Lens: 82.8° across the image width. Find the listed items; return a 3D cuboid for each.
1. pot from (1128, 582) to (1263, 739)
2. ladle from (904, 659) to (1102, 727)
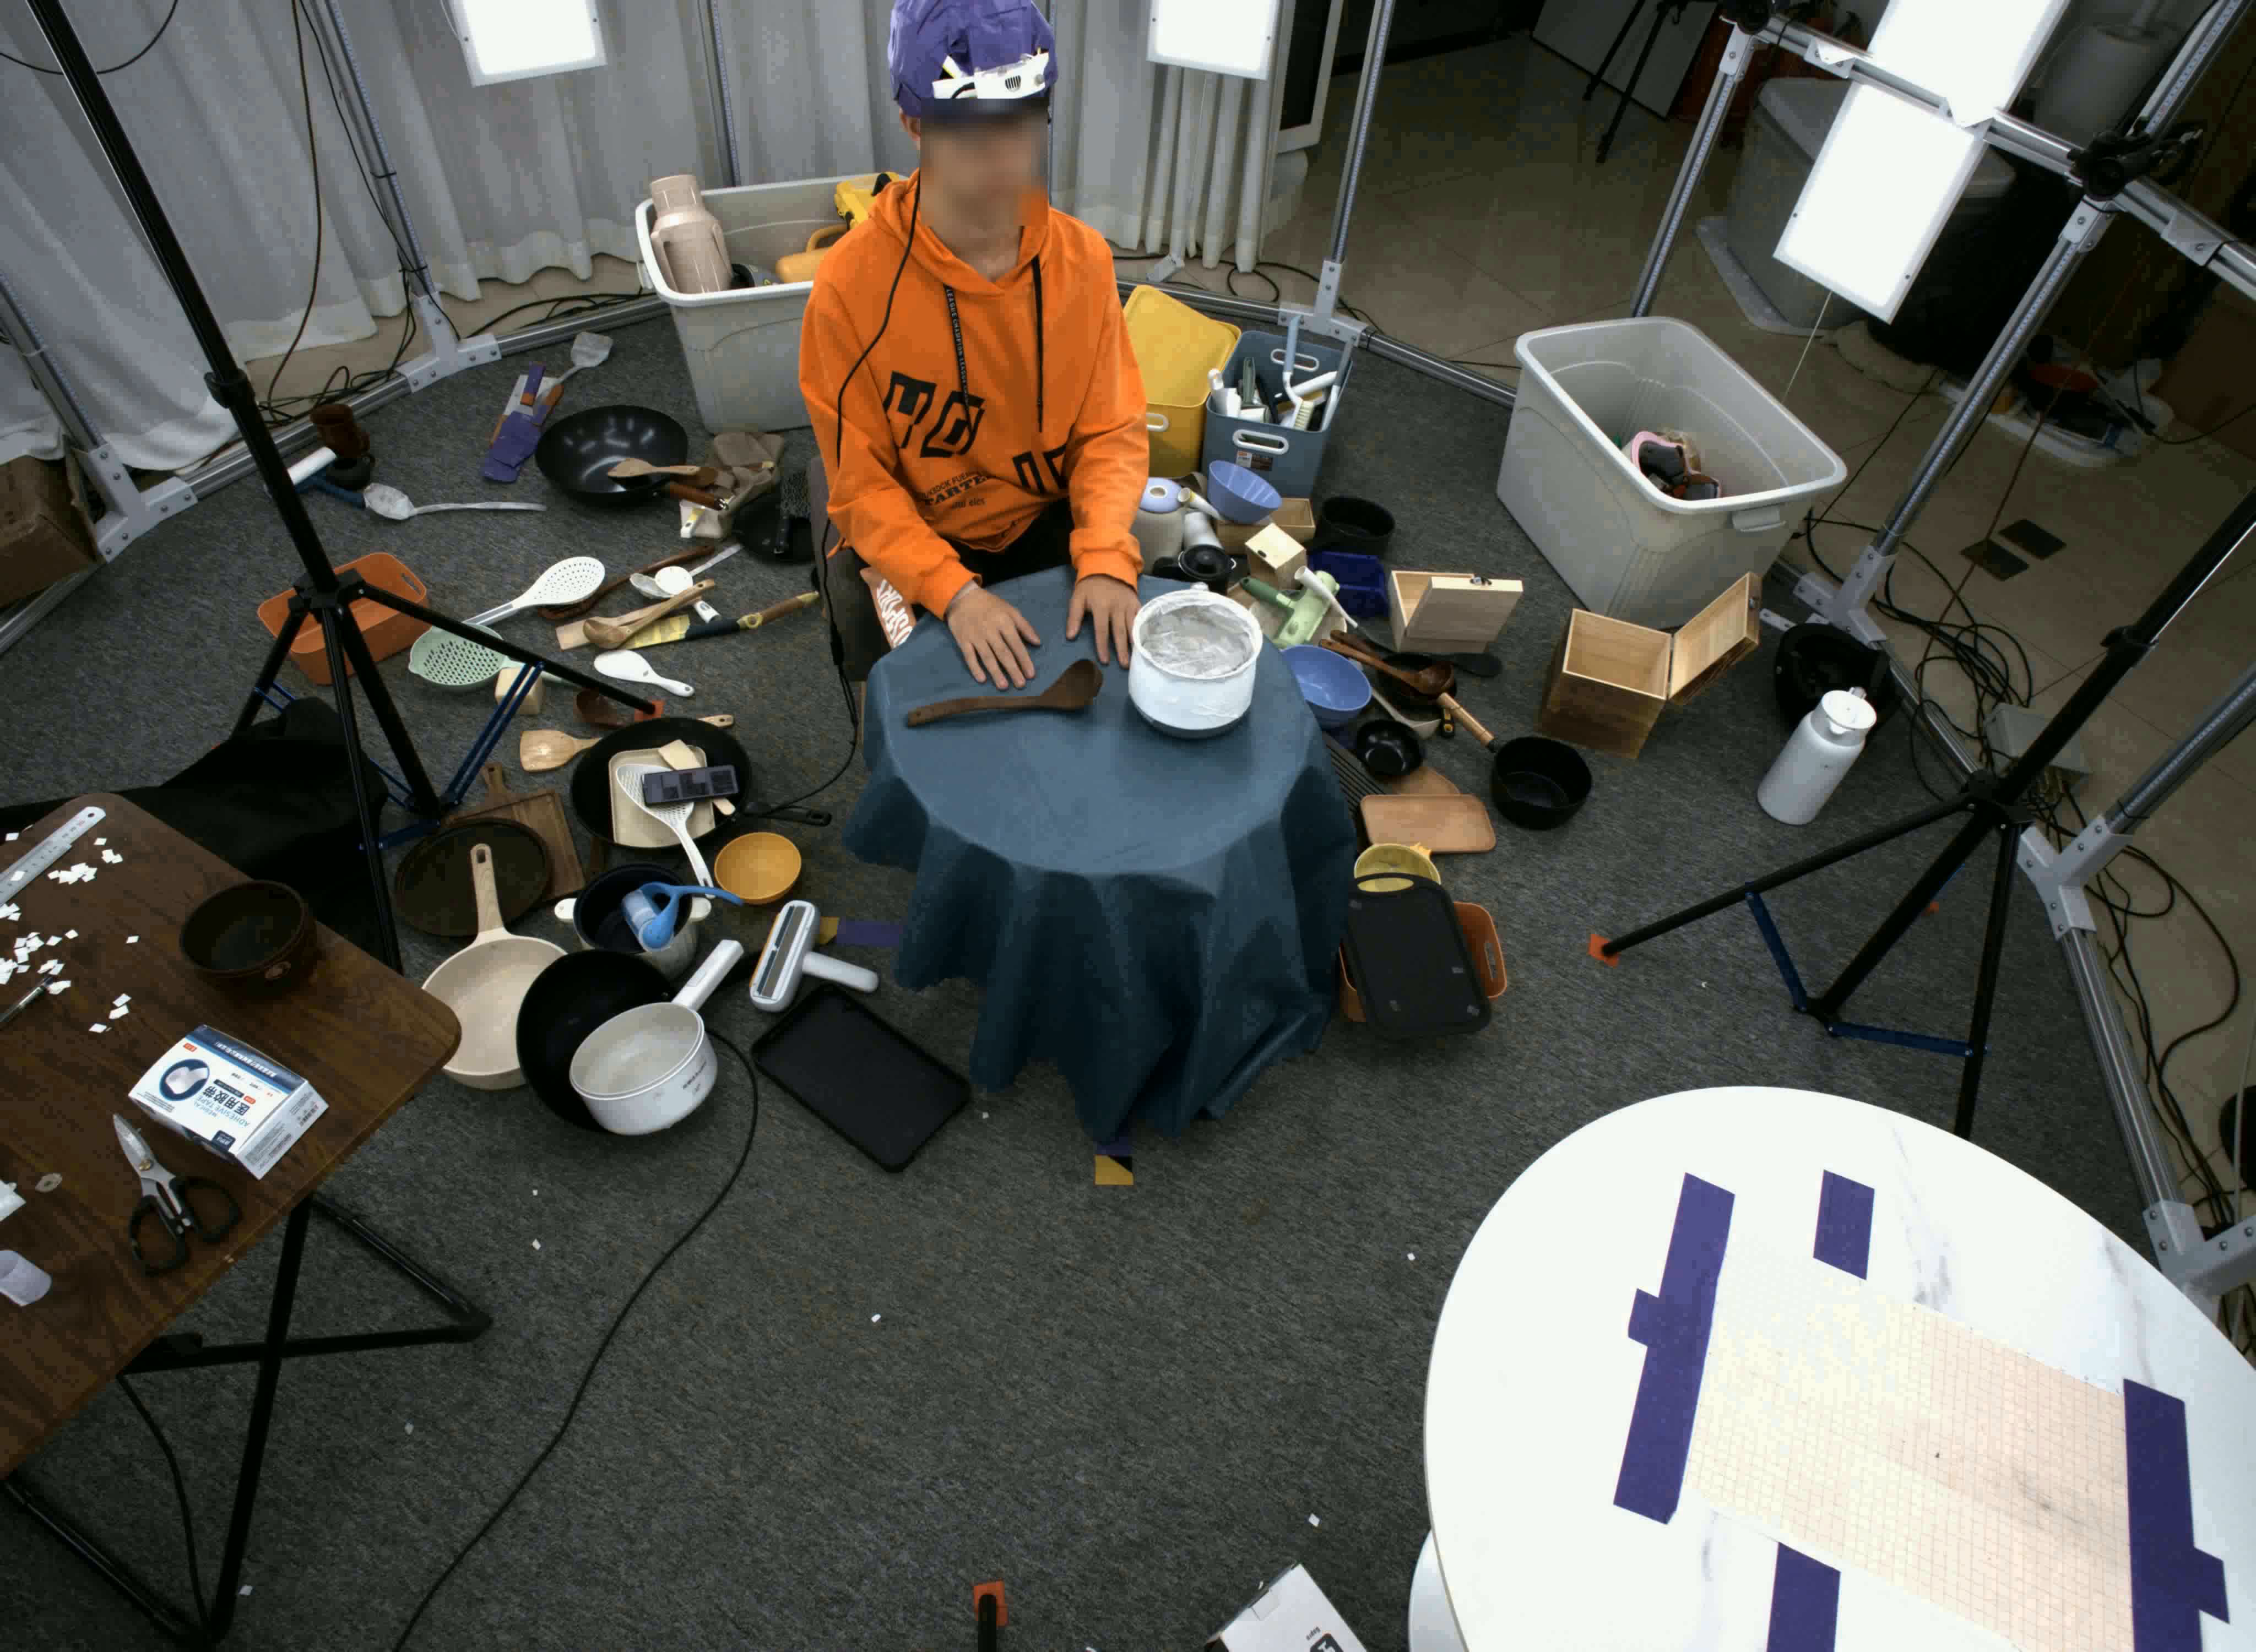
[{"bbox_3d":[0.092,-0.241,1.795,0.178,0.133,0.239,5,49,-1],"label":"pot"},{"bbox_3d":[-0.172,-0.183,1.771,0.274,0.069,0.078,-7,48,-11],"label":"ladle"}]
